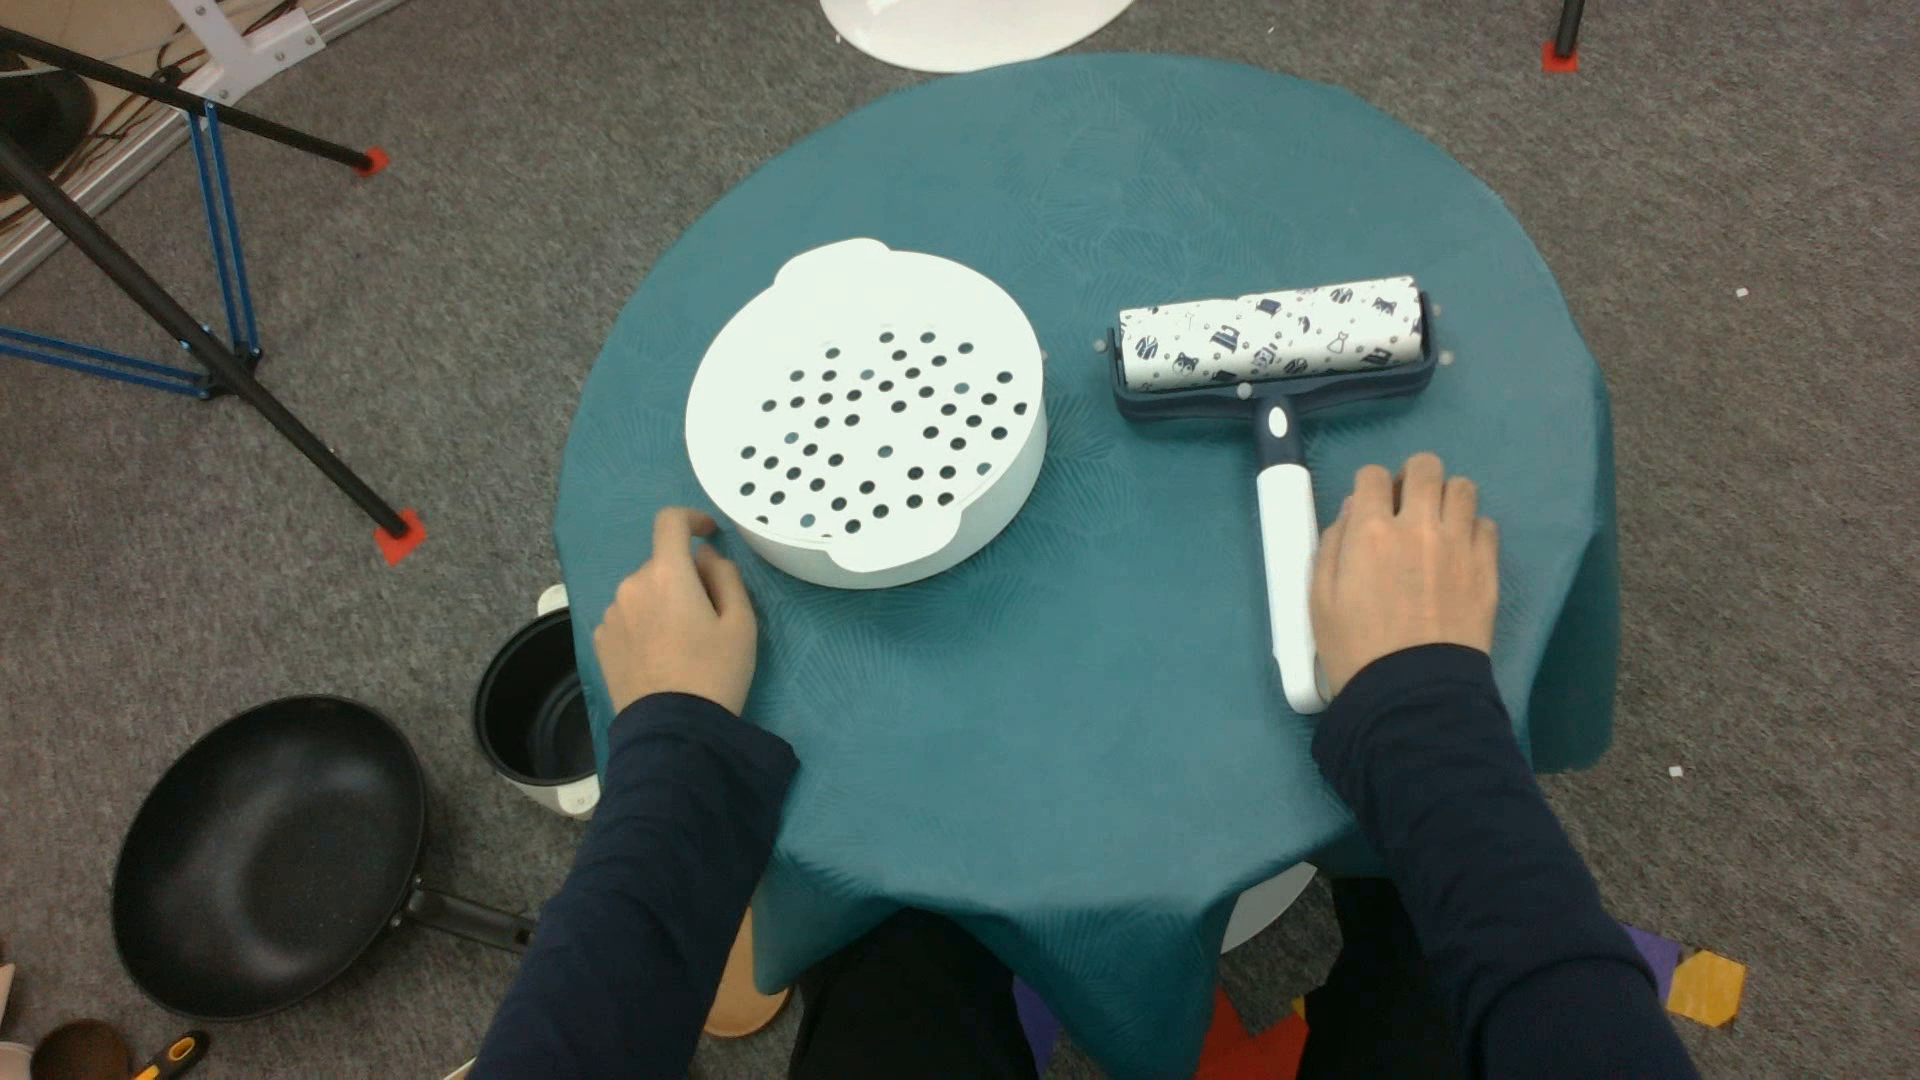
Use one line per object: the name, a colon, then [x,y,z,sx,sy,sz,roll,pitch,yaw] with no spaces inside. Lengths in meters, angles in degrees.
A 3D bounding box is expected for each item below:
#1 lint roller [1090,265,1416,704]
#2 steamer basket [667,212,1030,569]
lint roller: [0.165,-0.036,0.727,0.176,0.050,0.248,-5,61,7]
steamer basket: [-0.060,-0.080,0.782,0.202,0.069,0.231,-17,61,2]
